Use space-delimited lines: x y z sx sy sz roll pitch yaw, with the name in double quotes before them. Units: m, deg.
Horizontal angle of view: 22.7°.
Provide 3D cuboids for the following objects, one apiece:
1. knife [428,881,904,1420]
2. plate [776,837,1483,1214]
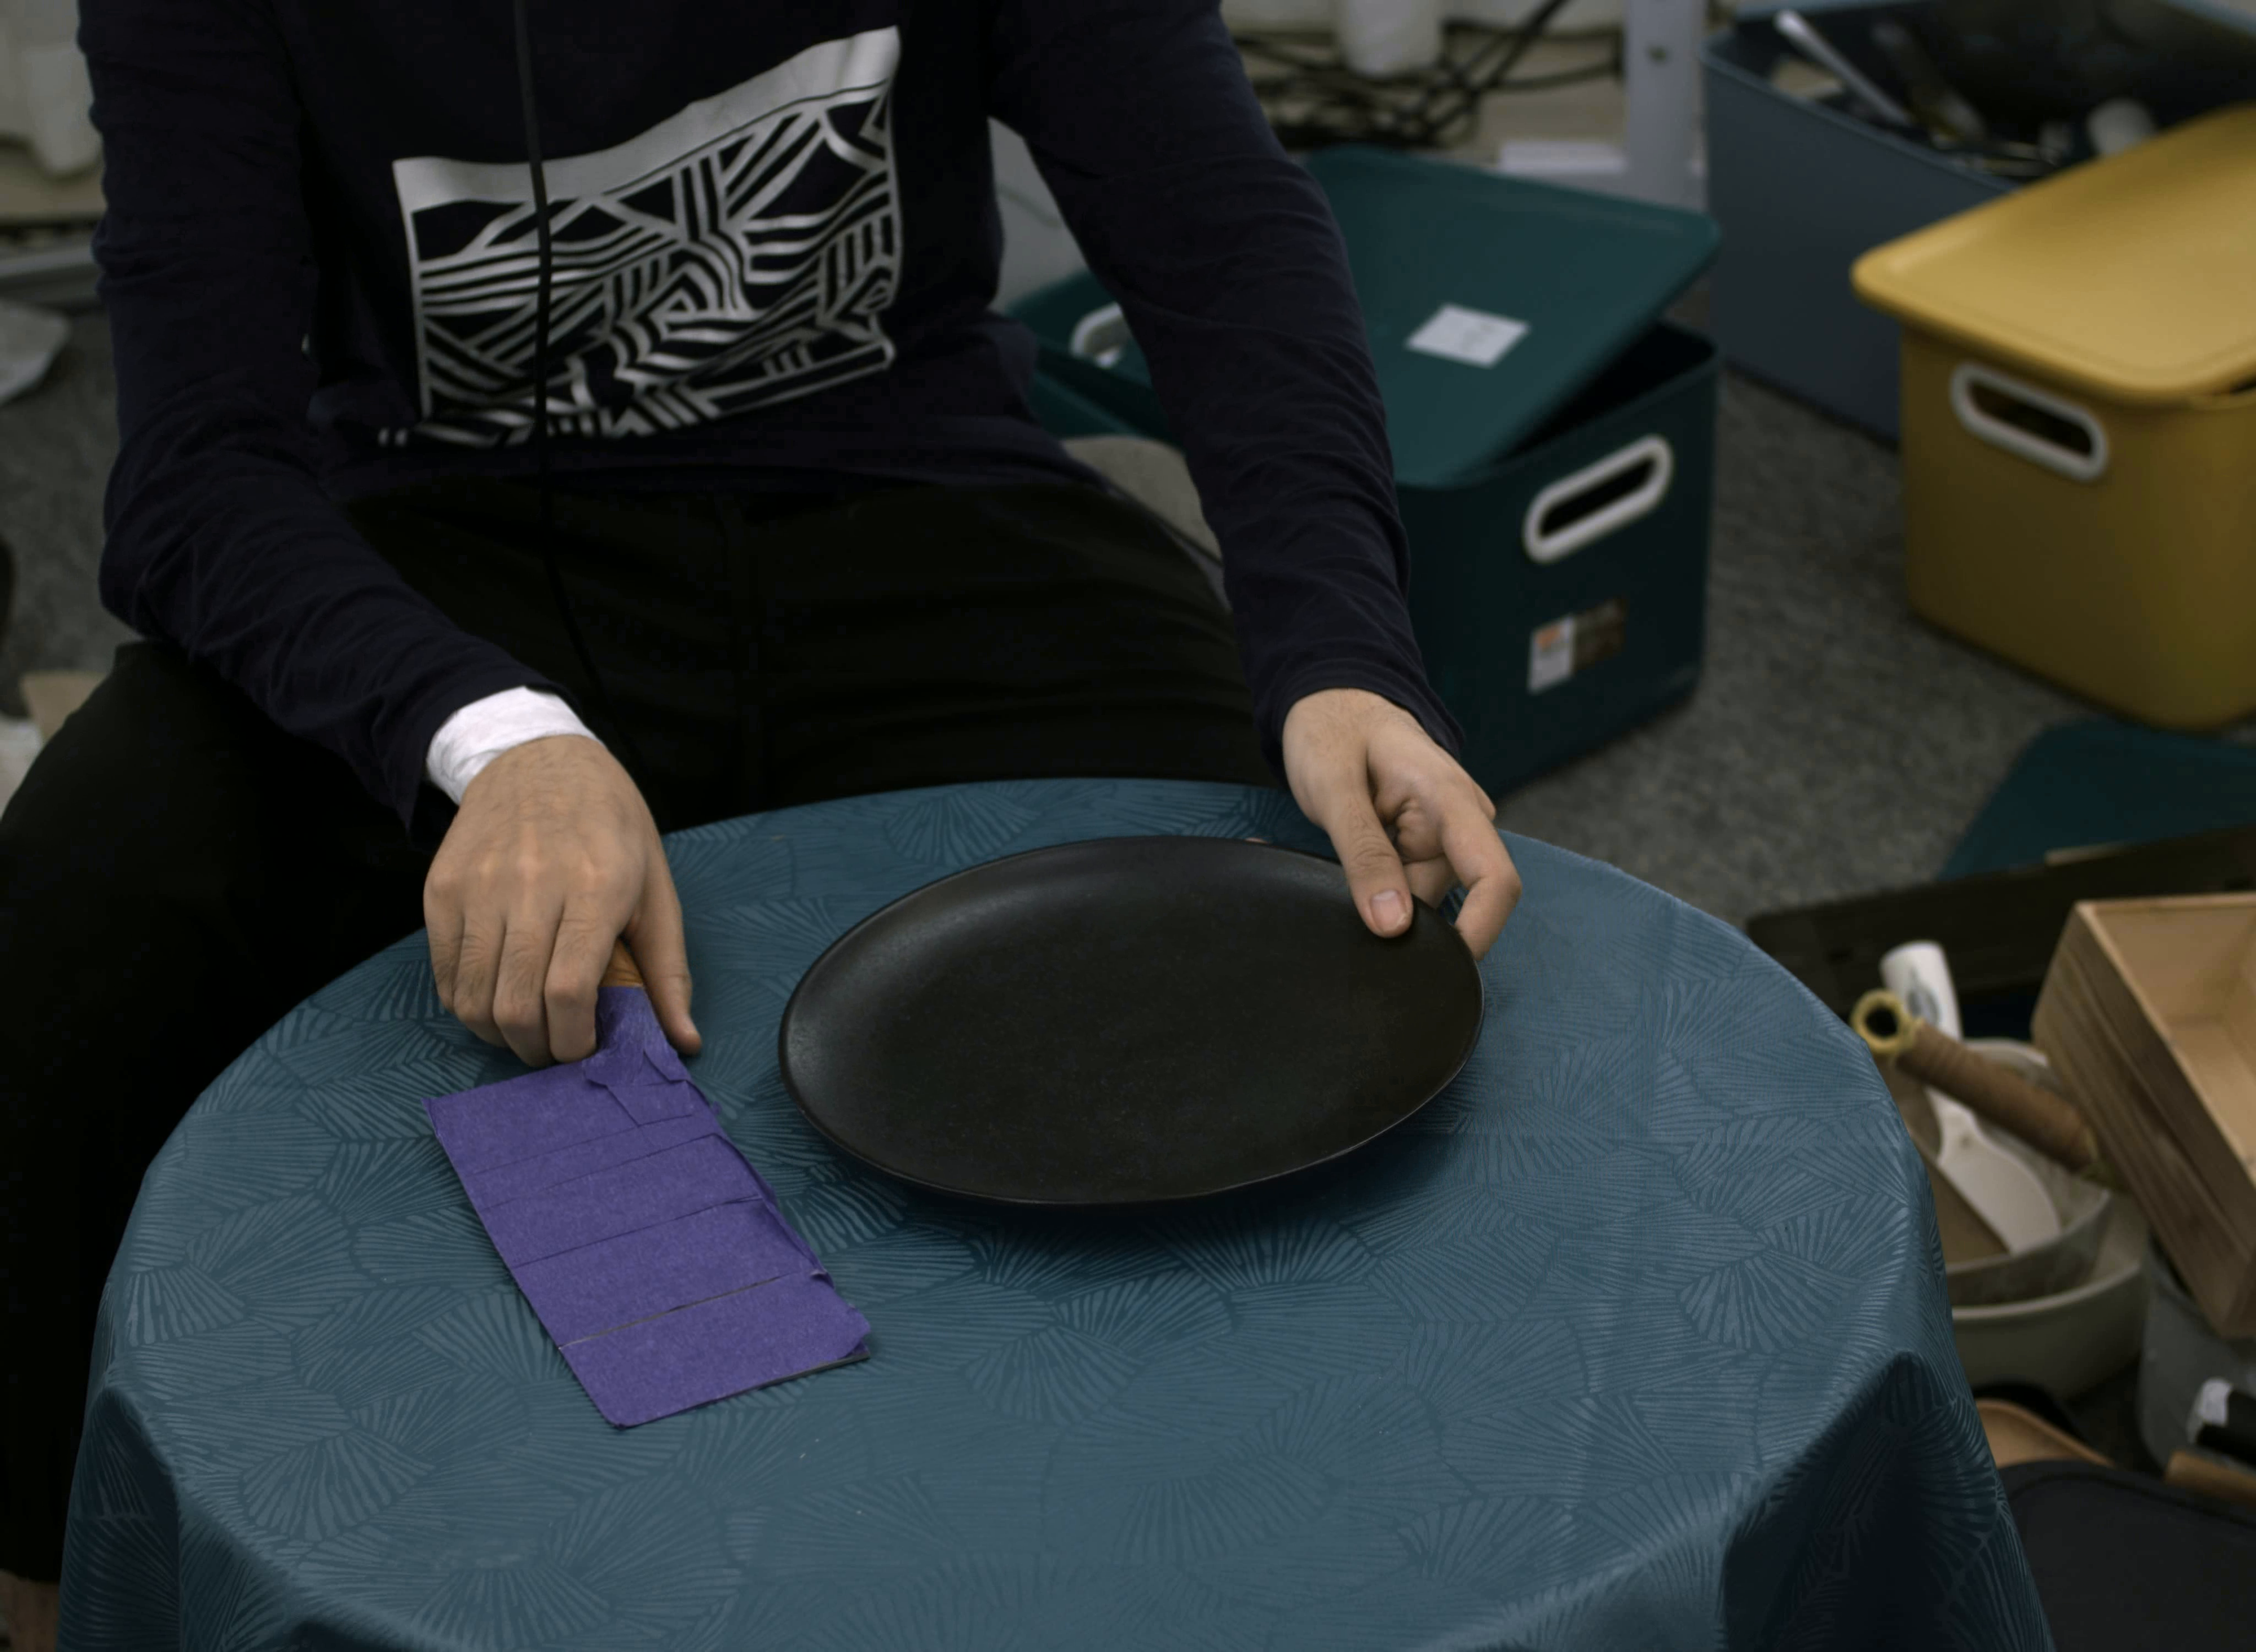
"knife" -0.179 0.104 1.883 0.104 0.032 0.317 -13 29 -20
"plate" 0.001 0.072 1.926 0.243 0.023 0.248 -4 29 2
